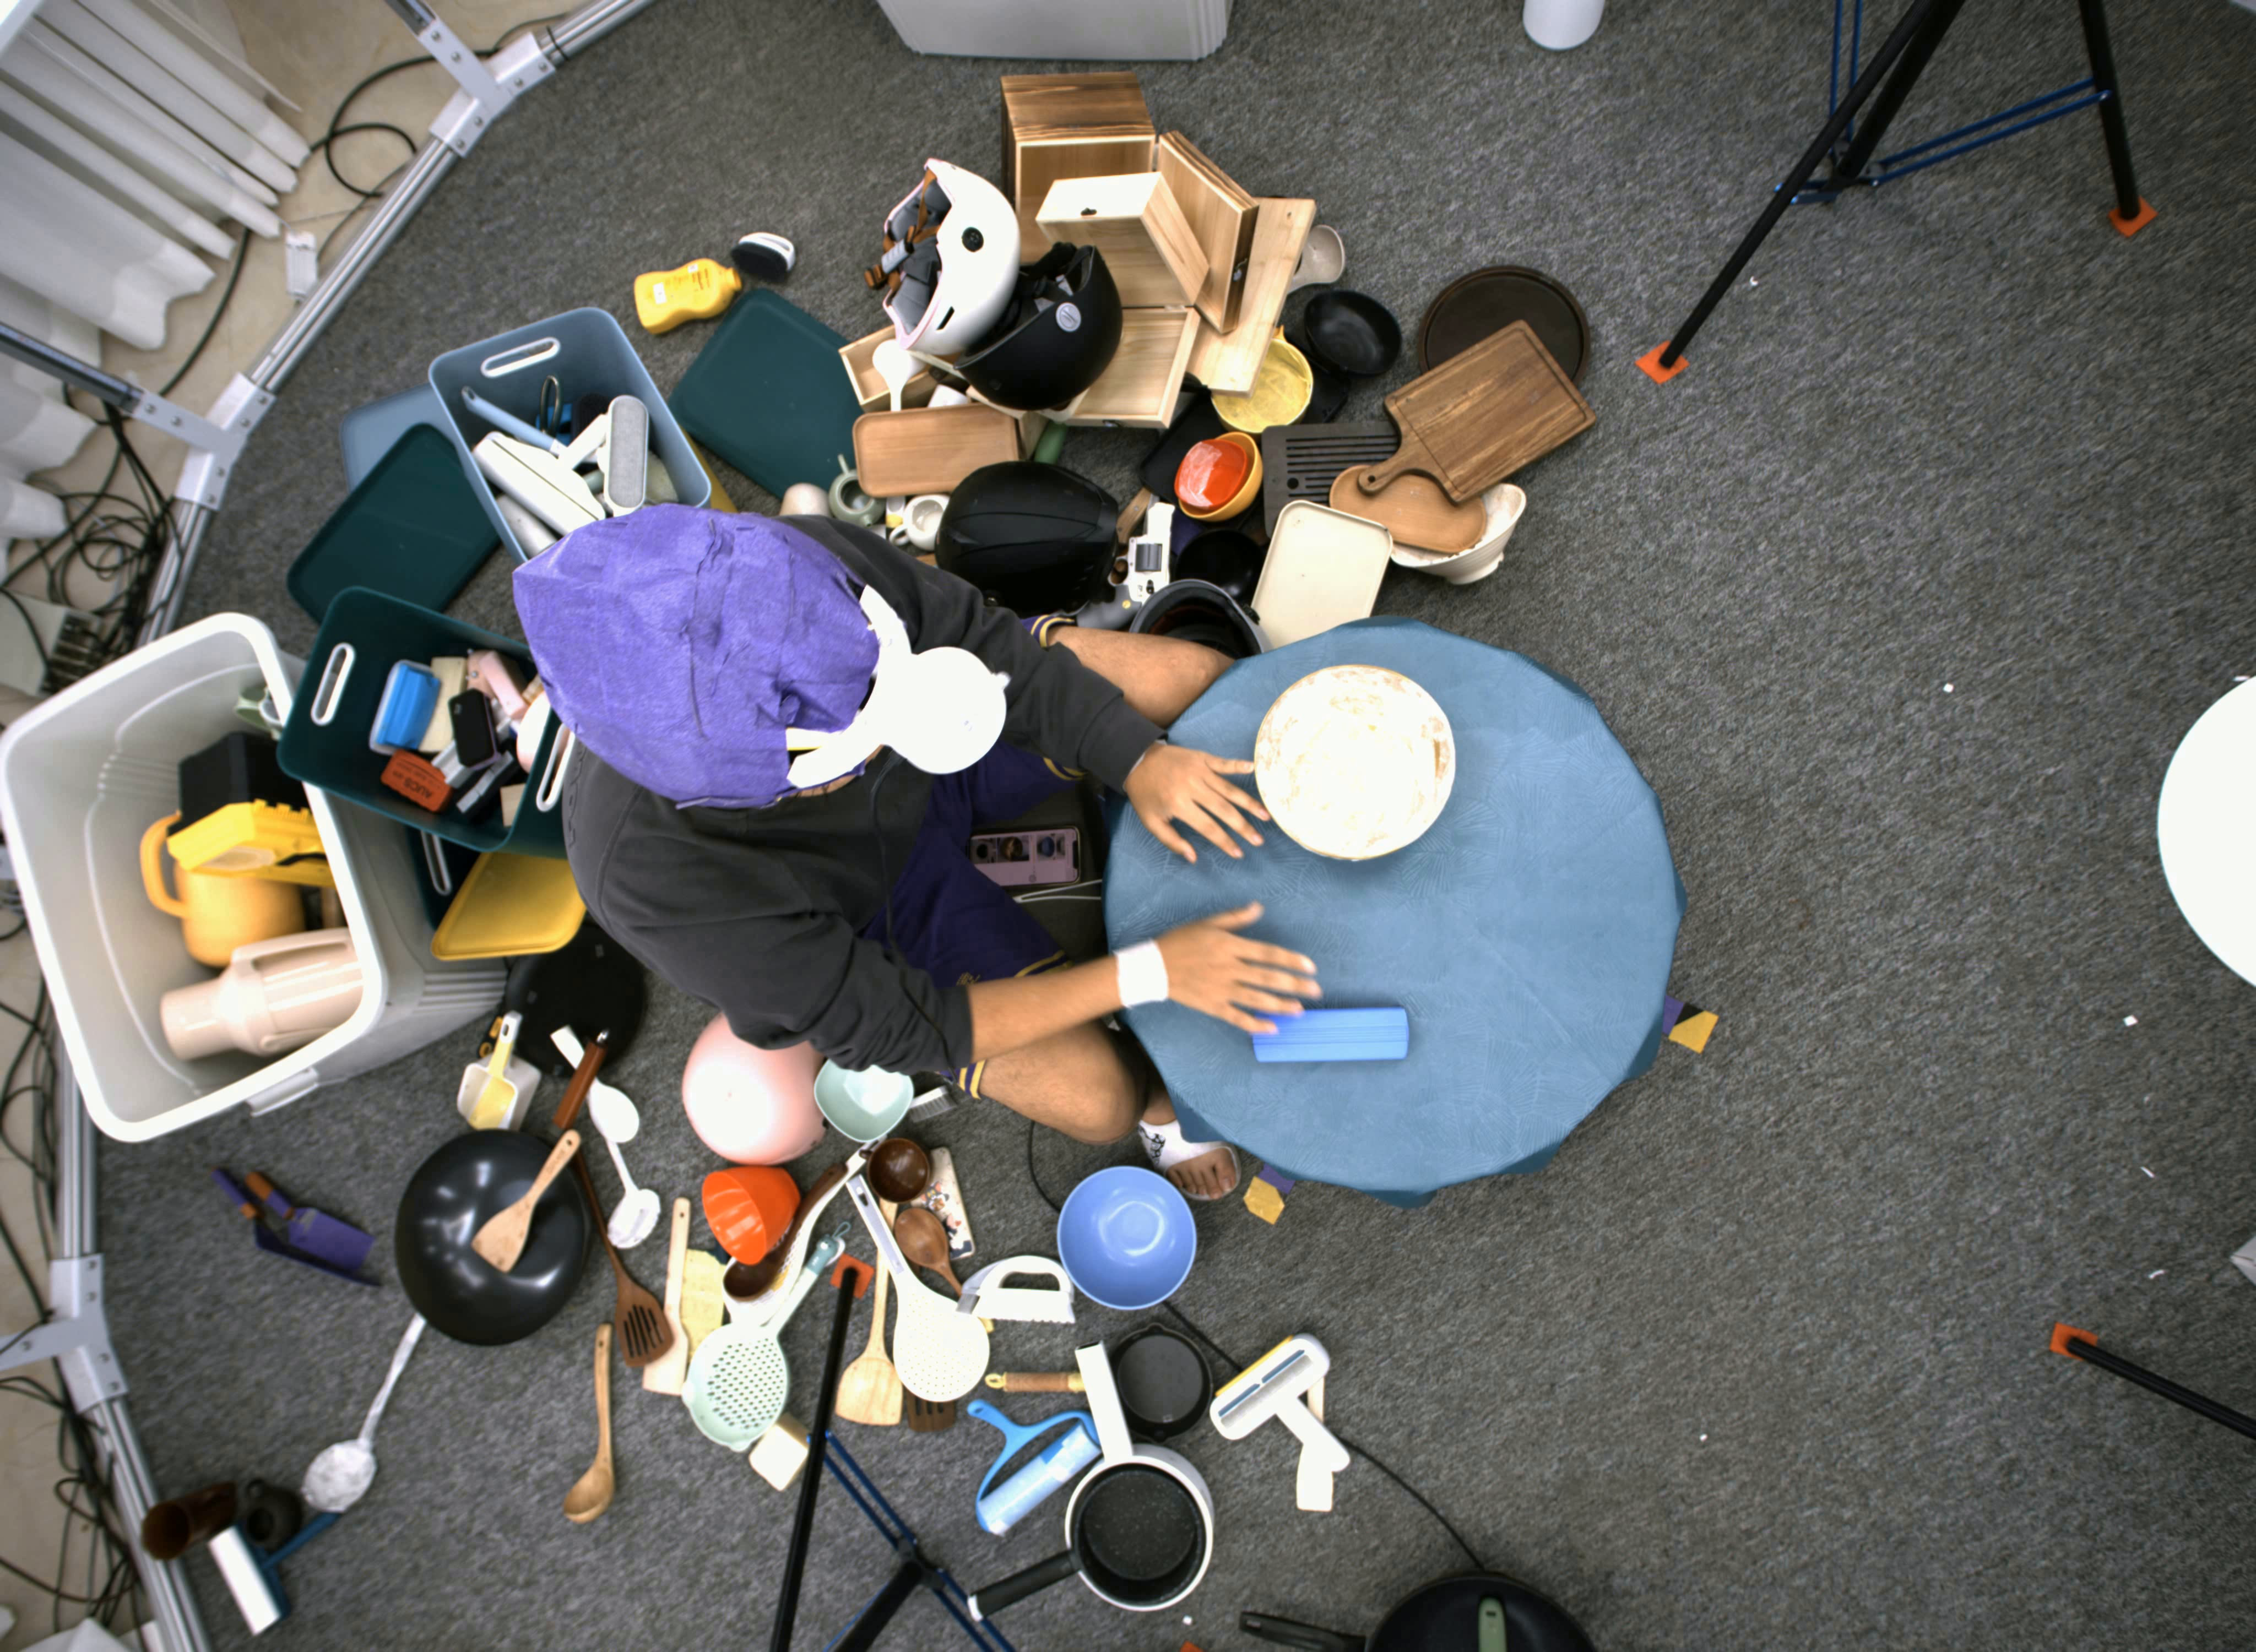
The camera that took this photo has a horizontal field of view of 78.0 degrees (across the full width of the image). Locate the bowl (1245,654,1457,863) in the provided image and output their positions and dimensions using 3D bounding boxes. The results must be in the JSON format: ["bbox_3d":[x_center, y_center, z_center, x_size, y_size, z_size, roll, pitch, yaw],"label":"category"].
[{"bbox_3d":[0.231,-0.065,1.426,0.215,0.094,0.214,-1,88,11],"label":"bowl"}]

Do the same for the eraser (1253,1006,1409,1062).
[{"bbox_3d":[0.210,0.216,1.440,0.163,0.047,0.054,-3,89,11],"label":"eraser"}]
